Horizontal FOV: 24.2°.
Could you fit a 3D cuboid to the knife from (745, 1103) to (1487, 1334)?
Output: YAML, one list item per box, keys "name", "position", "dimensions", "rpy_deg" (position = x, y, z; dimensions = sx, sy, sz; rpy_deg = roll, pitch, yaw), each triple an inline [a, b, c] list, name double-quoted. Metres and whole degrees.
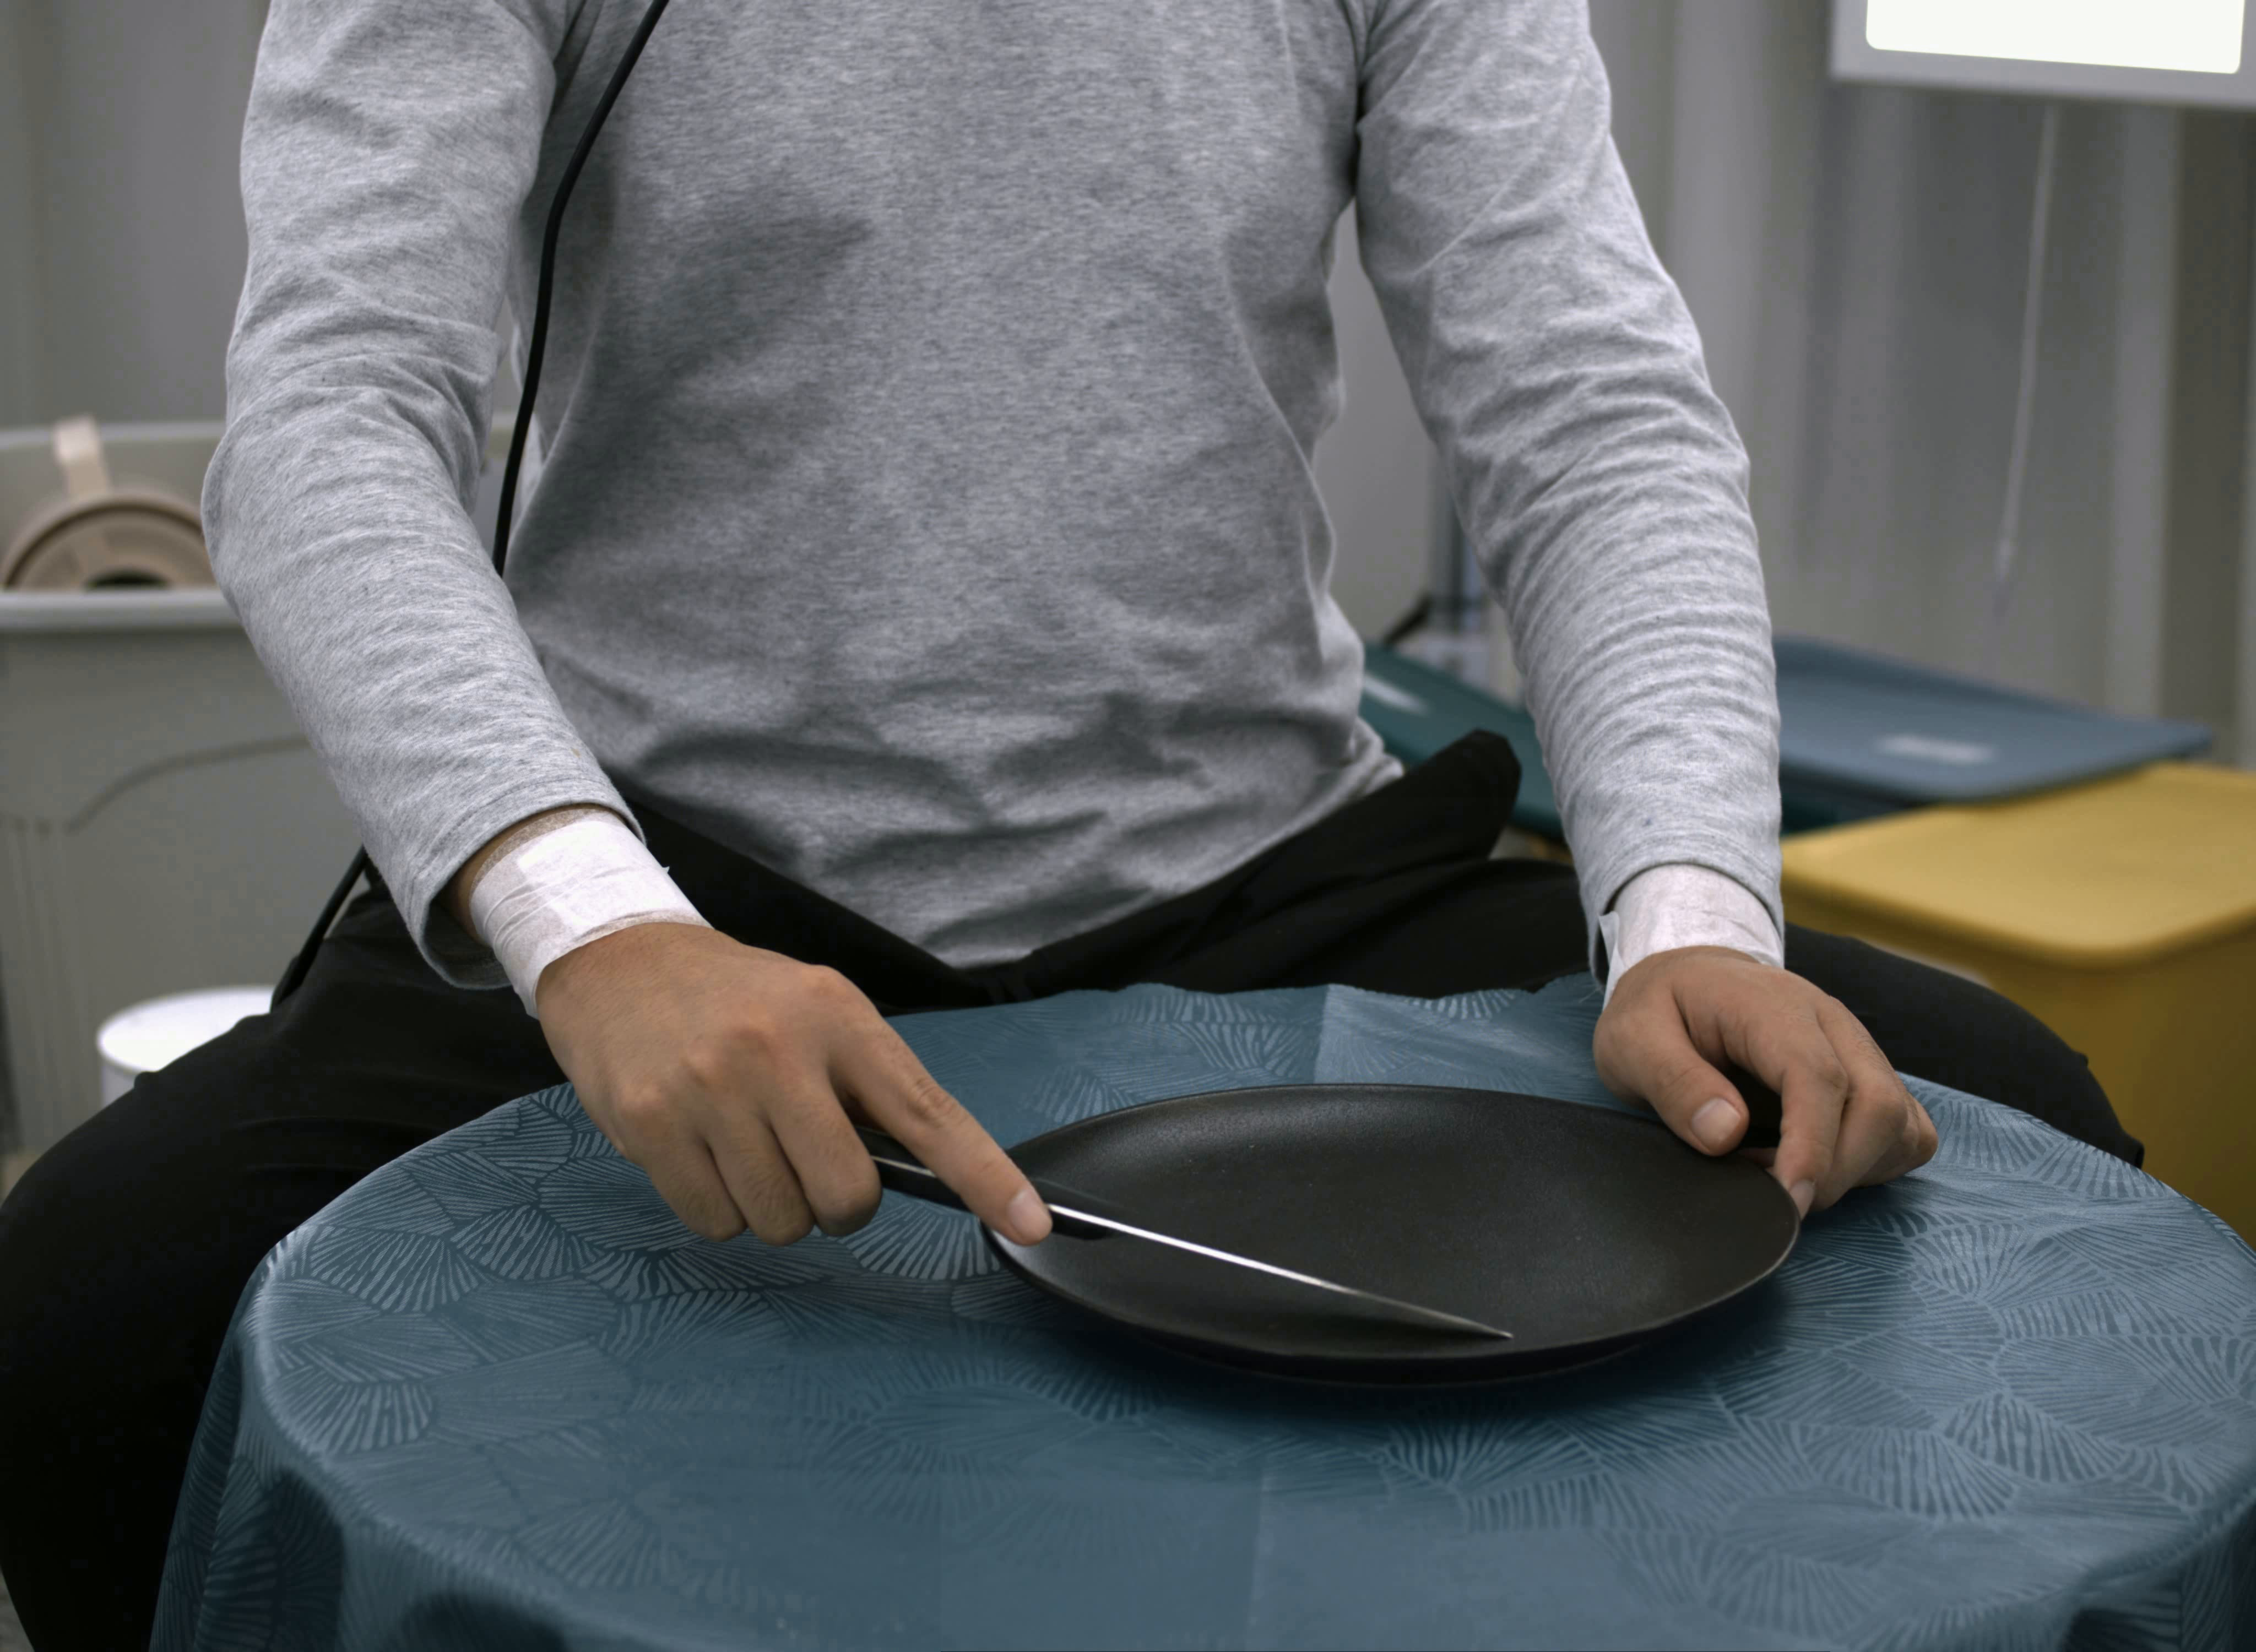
- name: "knife"
  position: [-0.002, 0.116, 1.509]
  dimensions: [0.236, 0.016, 0.024]
  rpy_deg: [15, 0, 13]

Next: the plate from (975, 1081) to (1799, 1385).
- name: "plate"
  position: [0.076, 0.122, 1.551]
  dimensions: [0.243, 0.023, 0.243]
  rpy_deg: [1, 15, 0]
